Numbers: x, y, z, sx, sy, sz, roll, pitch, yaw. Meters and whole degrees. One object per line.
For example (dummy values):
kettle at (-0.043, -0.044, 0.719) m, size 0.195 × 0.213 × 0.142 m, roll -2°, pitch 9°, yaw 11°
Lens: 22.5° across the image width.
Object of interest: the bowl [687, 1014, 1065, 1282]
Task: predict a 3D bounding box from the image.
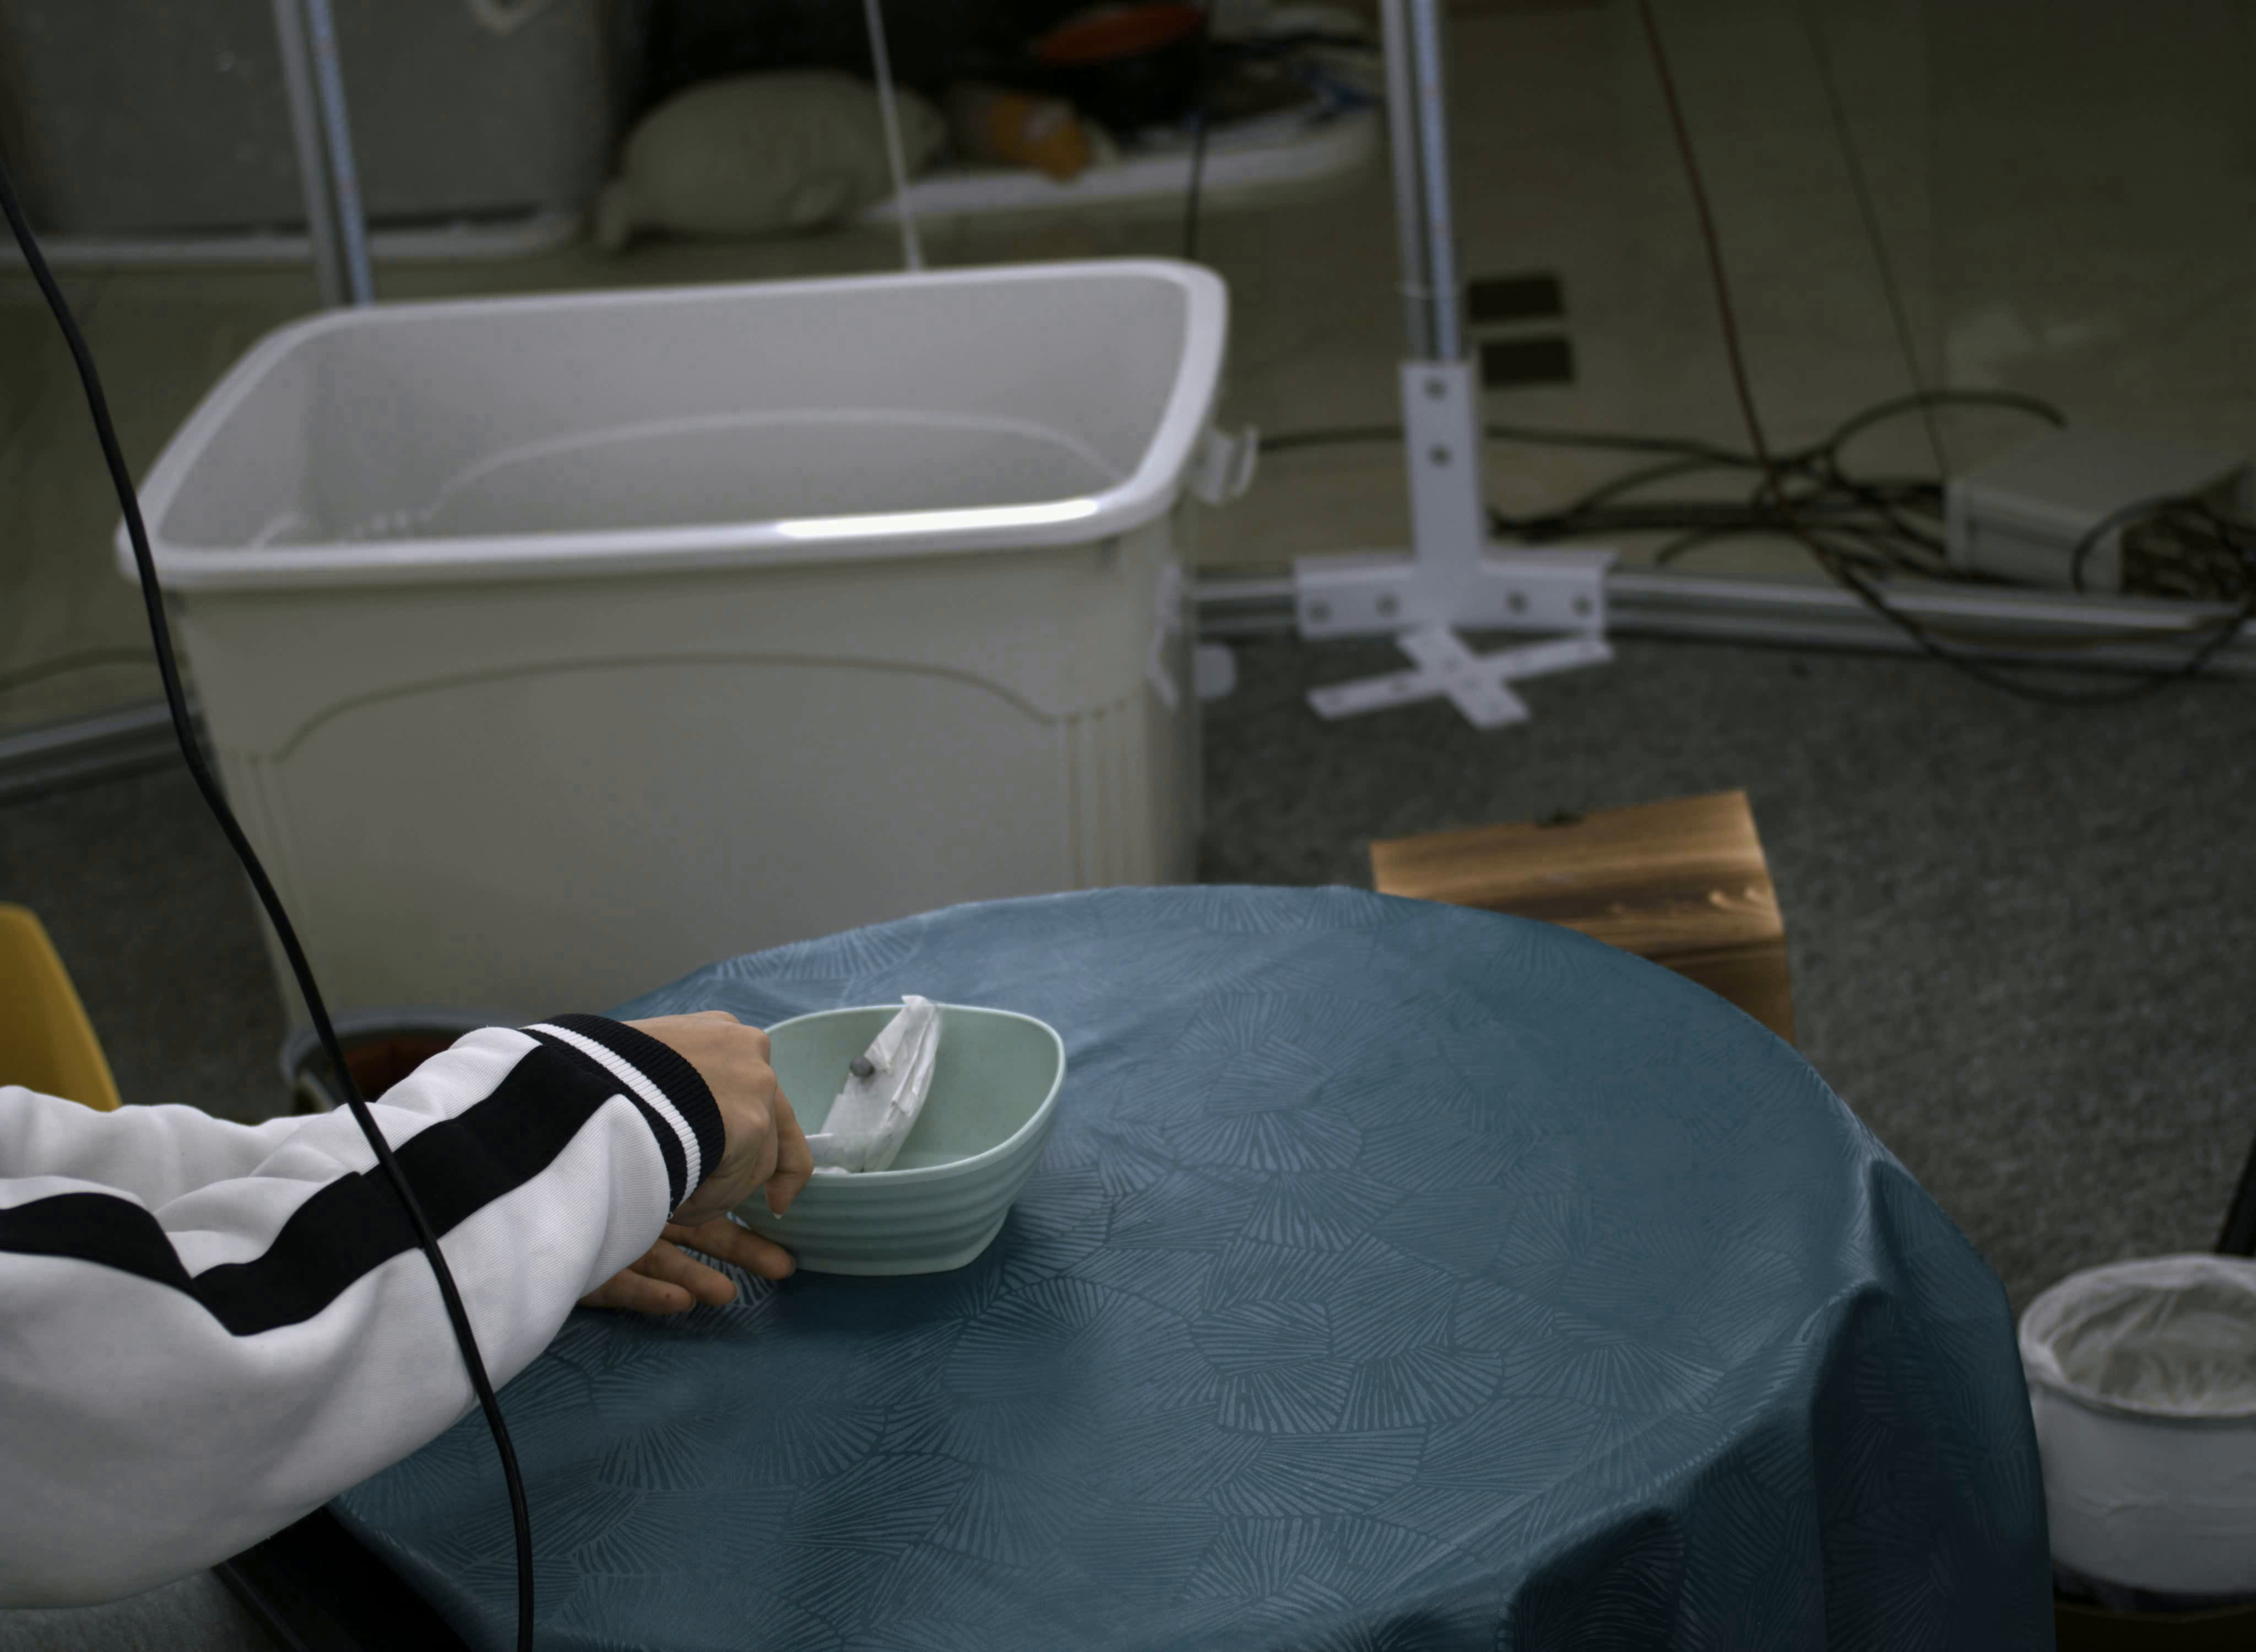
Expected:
bowl at (-0.091, 0.126, 2.134) m, size 0.151 × 0.059 × 0.149 m, roll -5°, pitch 25°, yaw 2°

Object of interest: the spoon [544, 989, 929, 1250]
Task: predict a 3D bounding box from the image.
spoon at (-0.150, 0.116, 2.060) m, size 0.059 × 0.102 × 0.276 m, roll 37°, pitch 21°, yaw 21°
